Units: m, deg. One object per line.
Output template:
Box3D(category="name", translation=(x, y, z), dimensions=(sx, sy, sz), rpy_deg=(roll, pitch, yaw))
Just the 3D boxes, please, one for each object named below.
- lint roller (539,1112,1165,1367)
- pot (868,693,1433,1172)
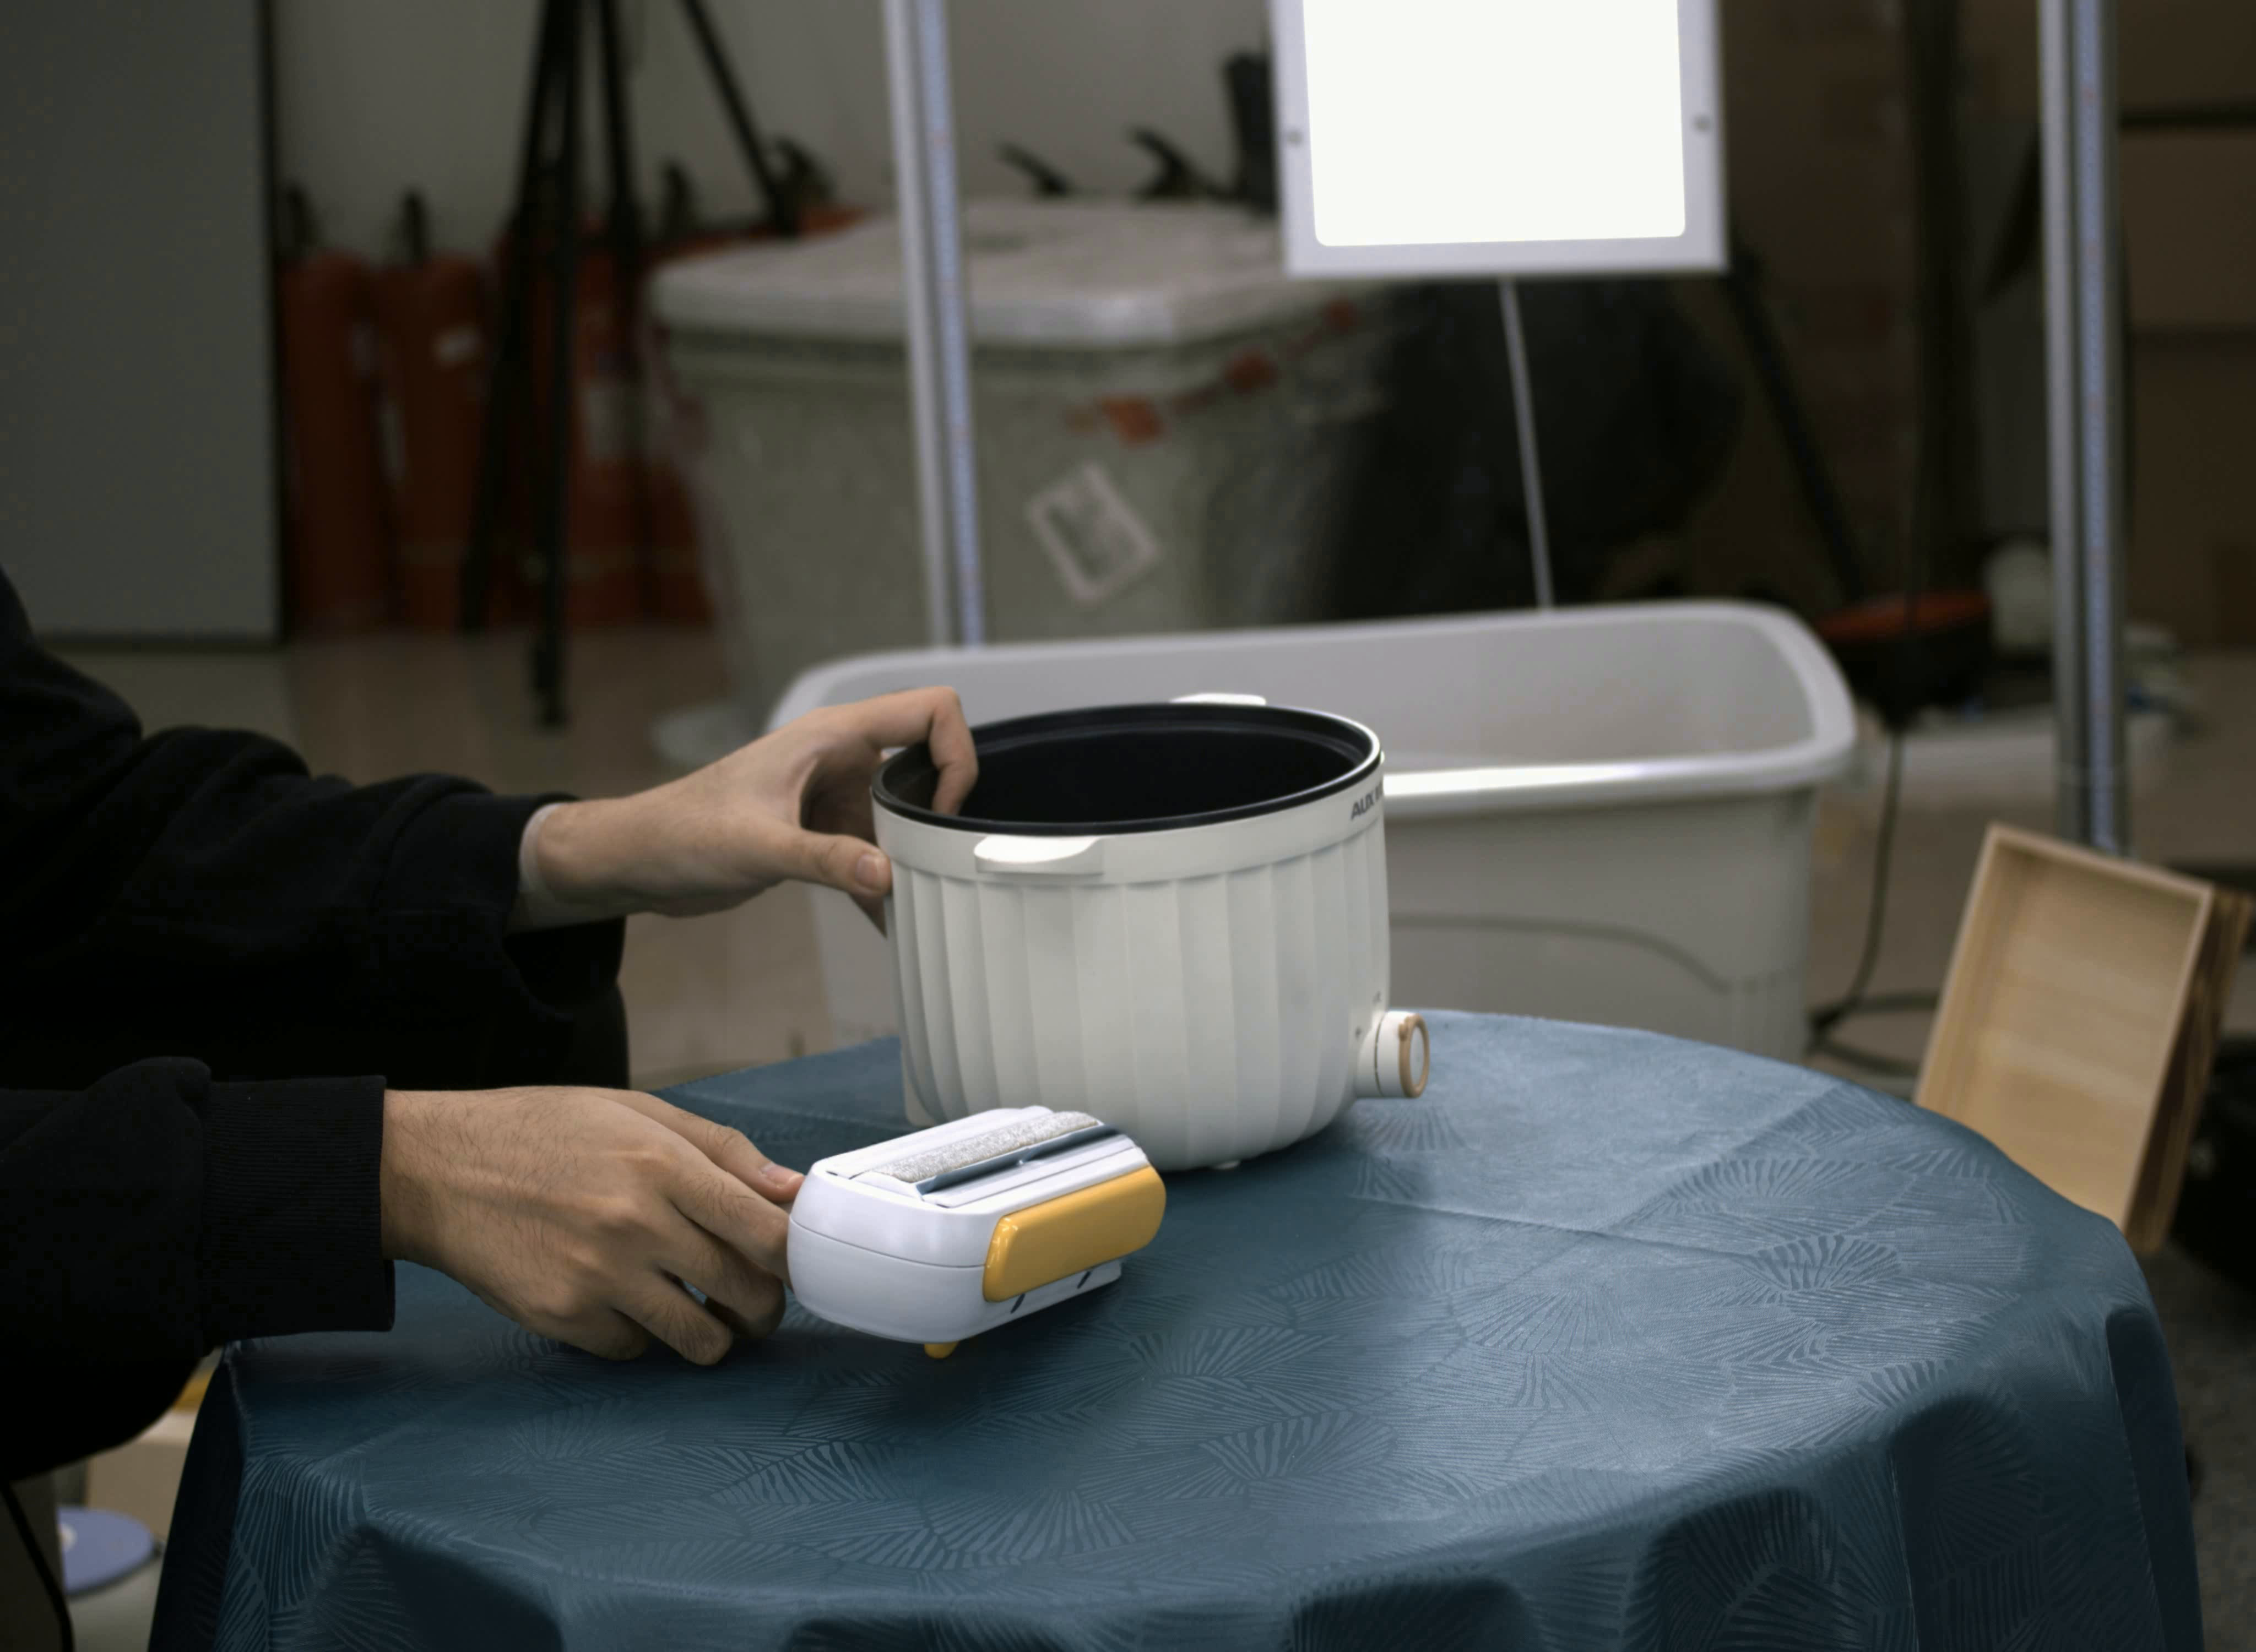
Box3D(category="lint roller", translation=(-0.103, 0.127, 1.767), dimensions=(0.195, 0.074, 0.189), rpy_deg=(6, 10, 26))
Box3D(category="pot", translation=(0.009, 0.041, 1.947), dimensions=(0.193, 0.143, 0.236), rpy_deg=(-3, 15, 20))
